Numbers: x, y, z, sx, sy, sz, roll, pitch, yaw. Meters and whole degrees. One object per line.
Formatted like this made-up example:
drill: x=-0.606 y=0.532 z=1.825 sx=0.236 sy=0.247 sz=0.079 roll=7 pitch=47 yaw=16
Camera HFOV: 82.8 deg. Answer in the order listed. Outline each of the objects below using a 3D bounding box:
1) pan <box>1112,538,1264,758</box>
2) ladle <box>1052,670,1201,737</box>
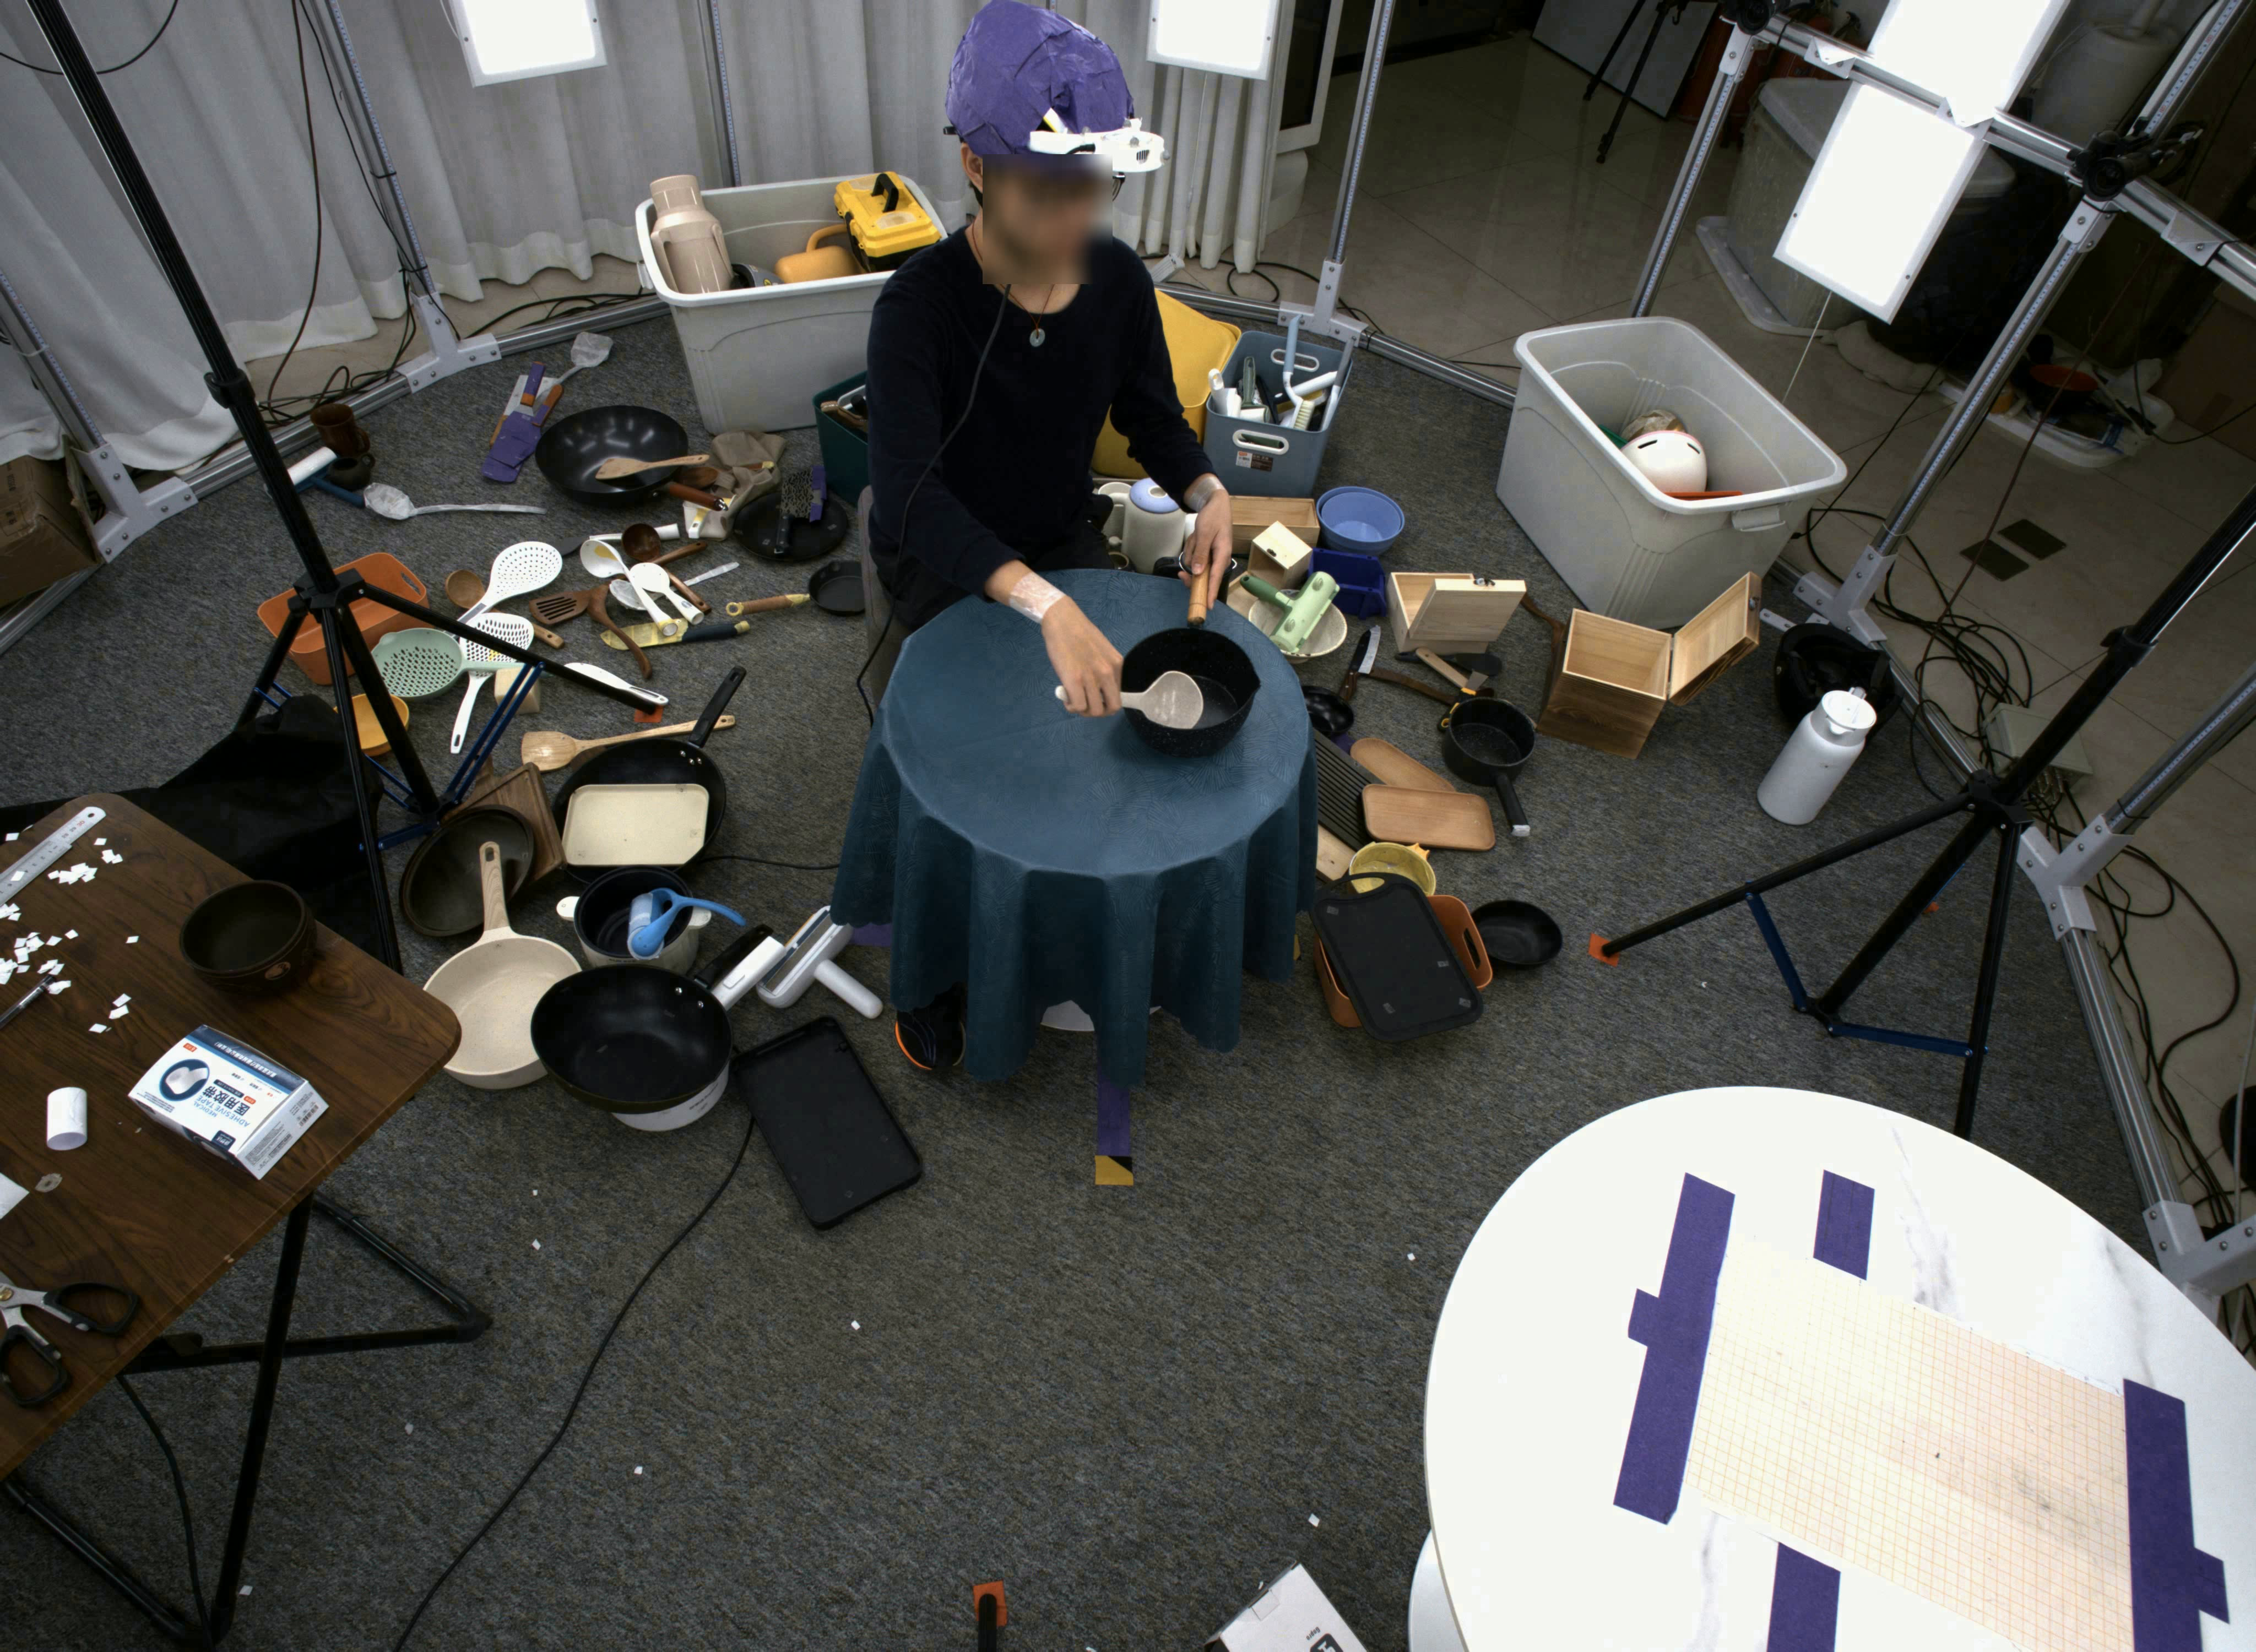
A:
pan: x=0.090 y=-0.250 z=1.803 sx=0.207 sy=0.105 sz=0.351 roll=3 pitch=55 yaw=6
ladle: x=0.004 y=-0.159 z=1.614 sx=0.070 sy=0.089 sz=0.274 roll=16 pitch=9 yaw=27
